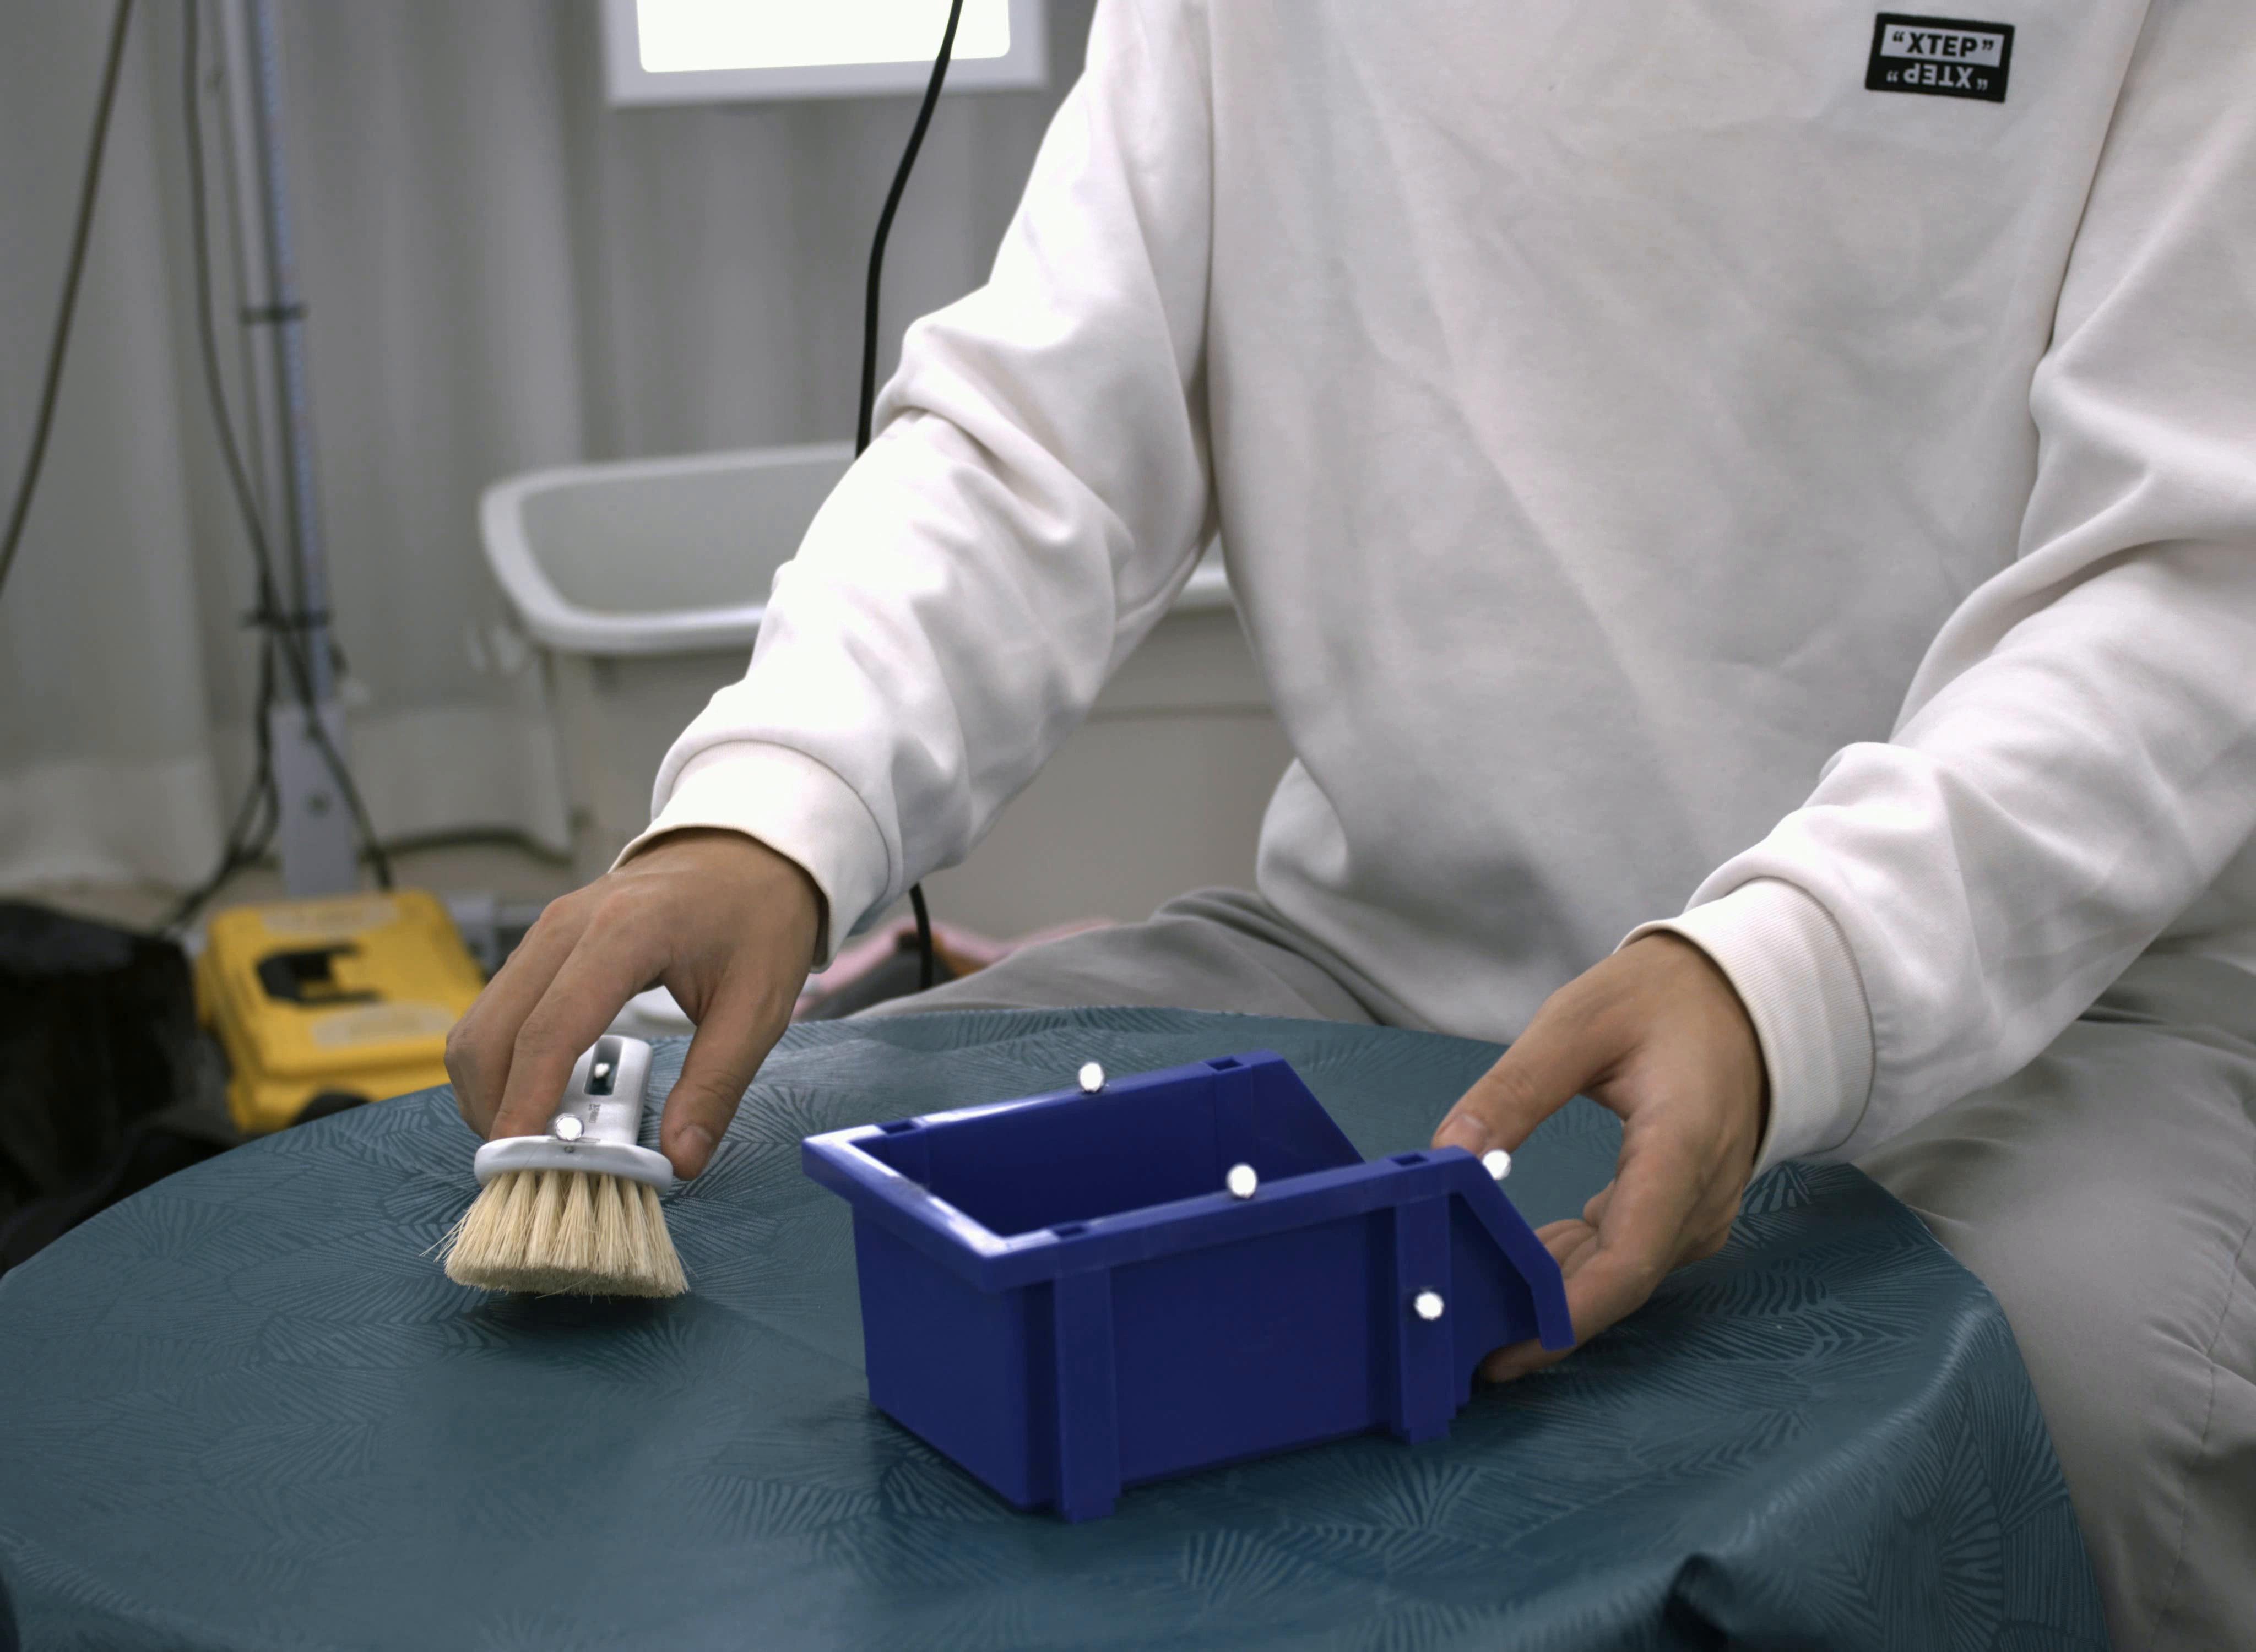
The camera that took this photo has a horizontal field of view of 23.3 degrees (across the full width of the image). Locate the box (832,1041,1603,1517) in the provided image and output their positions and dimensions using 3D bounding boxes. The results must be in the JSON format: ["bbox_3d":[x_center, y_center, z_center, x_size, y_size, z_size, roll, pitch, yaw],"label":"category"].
[{"bbox_3d":[0.024,0.122,1.528,0.179,0.081,0.125,-12,16,-25],"label":"box"}]

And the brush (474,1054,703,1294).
[{"bbox_3d":[-0.168,0.109,1.728,0.068,0.056,0.267,11,0,-6],"label":"brush"}]
